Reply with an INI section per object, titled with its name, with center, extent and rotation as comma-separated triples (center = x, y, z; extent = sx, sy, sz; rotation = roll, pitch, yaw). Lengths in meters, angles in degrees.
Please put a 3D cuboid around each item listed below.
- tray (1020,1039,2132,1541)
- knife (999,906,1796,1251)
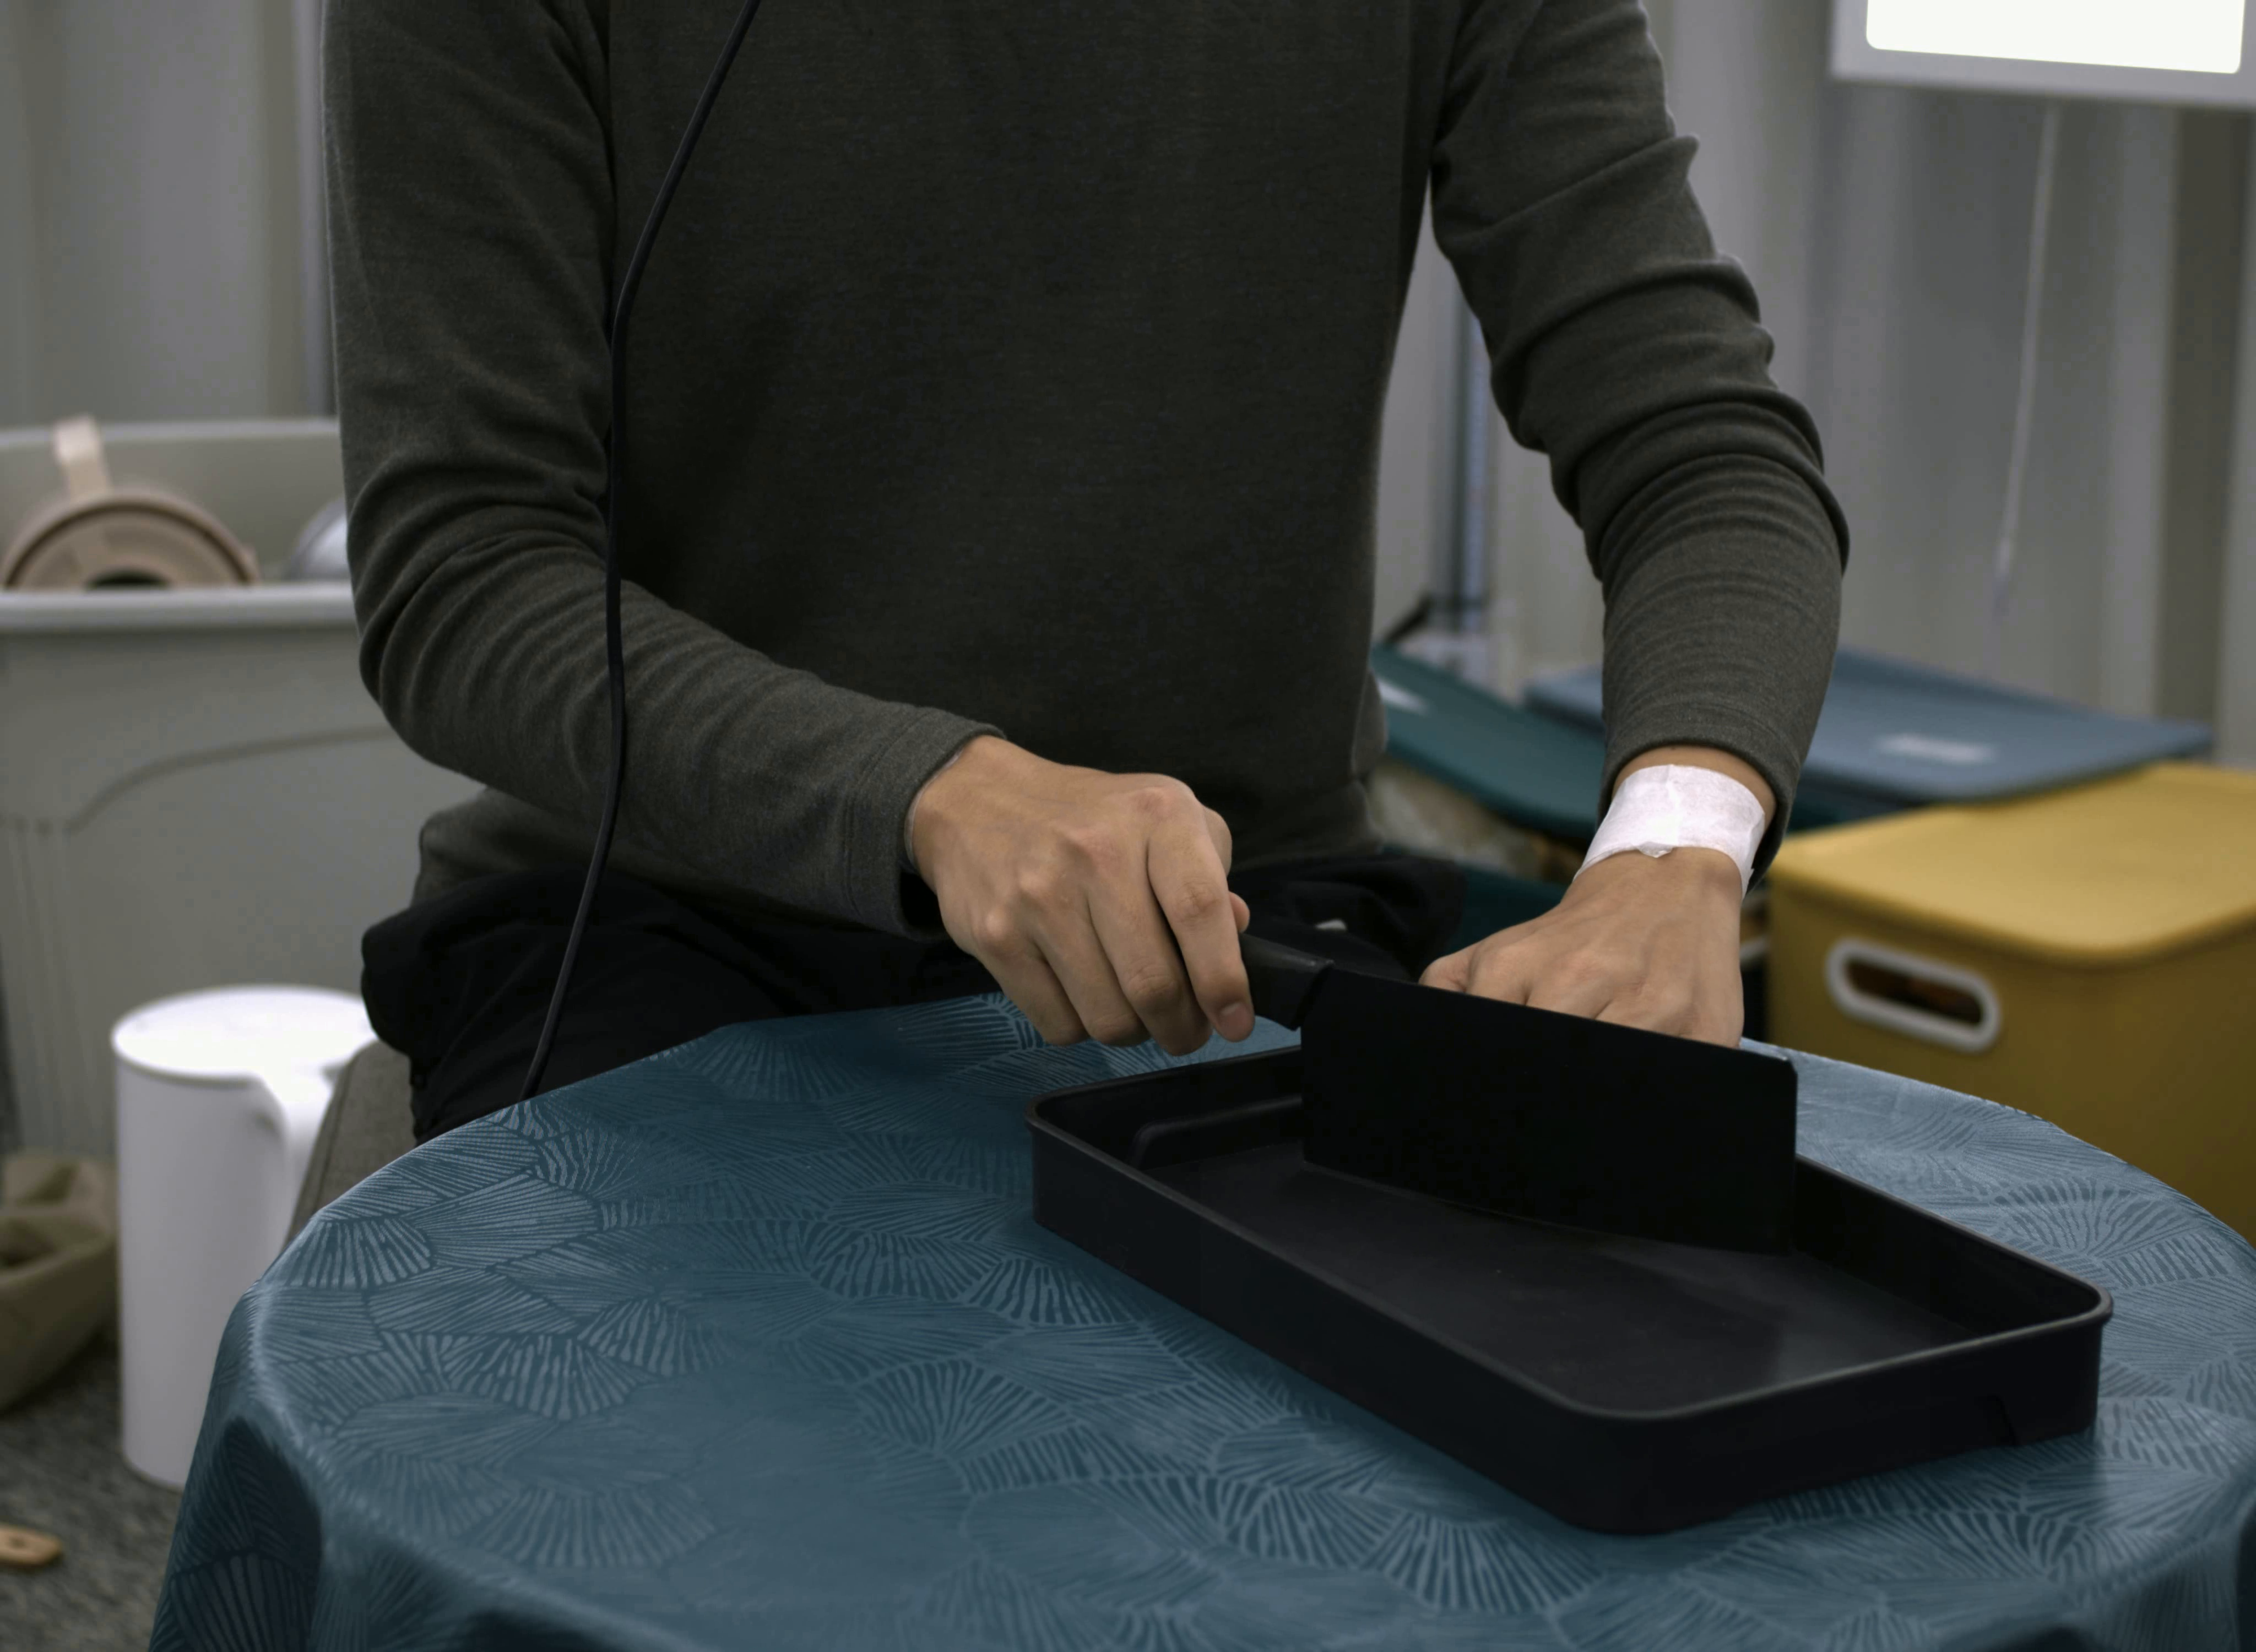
[tray]
center = 0.121, 0.123, 1.520
extent = 0.185, 0.037, 0.314
rotation = -9, 18, -32
[knife]
center = 0.077, 0.072, 1.605
extent = 0.298, 0.081, 0.021
rotation = 15, 20, 37
